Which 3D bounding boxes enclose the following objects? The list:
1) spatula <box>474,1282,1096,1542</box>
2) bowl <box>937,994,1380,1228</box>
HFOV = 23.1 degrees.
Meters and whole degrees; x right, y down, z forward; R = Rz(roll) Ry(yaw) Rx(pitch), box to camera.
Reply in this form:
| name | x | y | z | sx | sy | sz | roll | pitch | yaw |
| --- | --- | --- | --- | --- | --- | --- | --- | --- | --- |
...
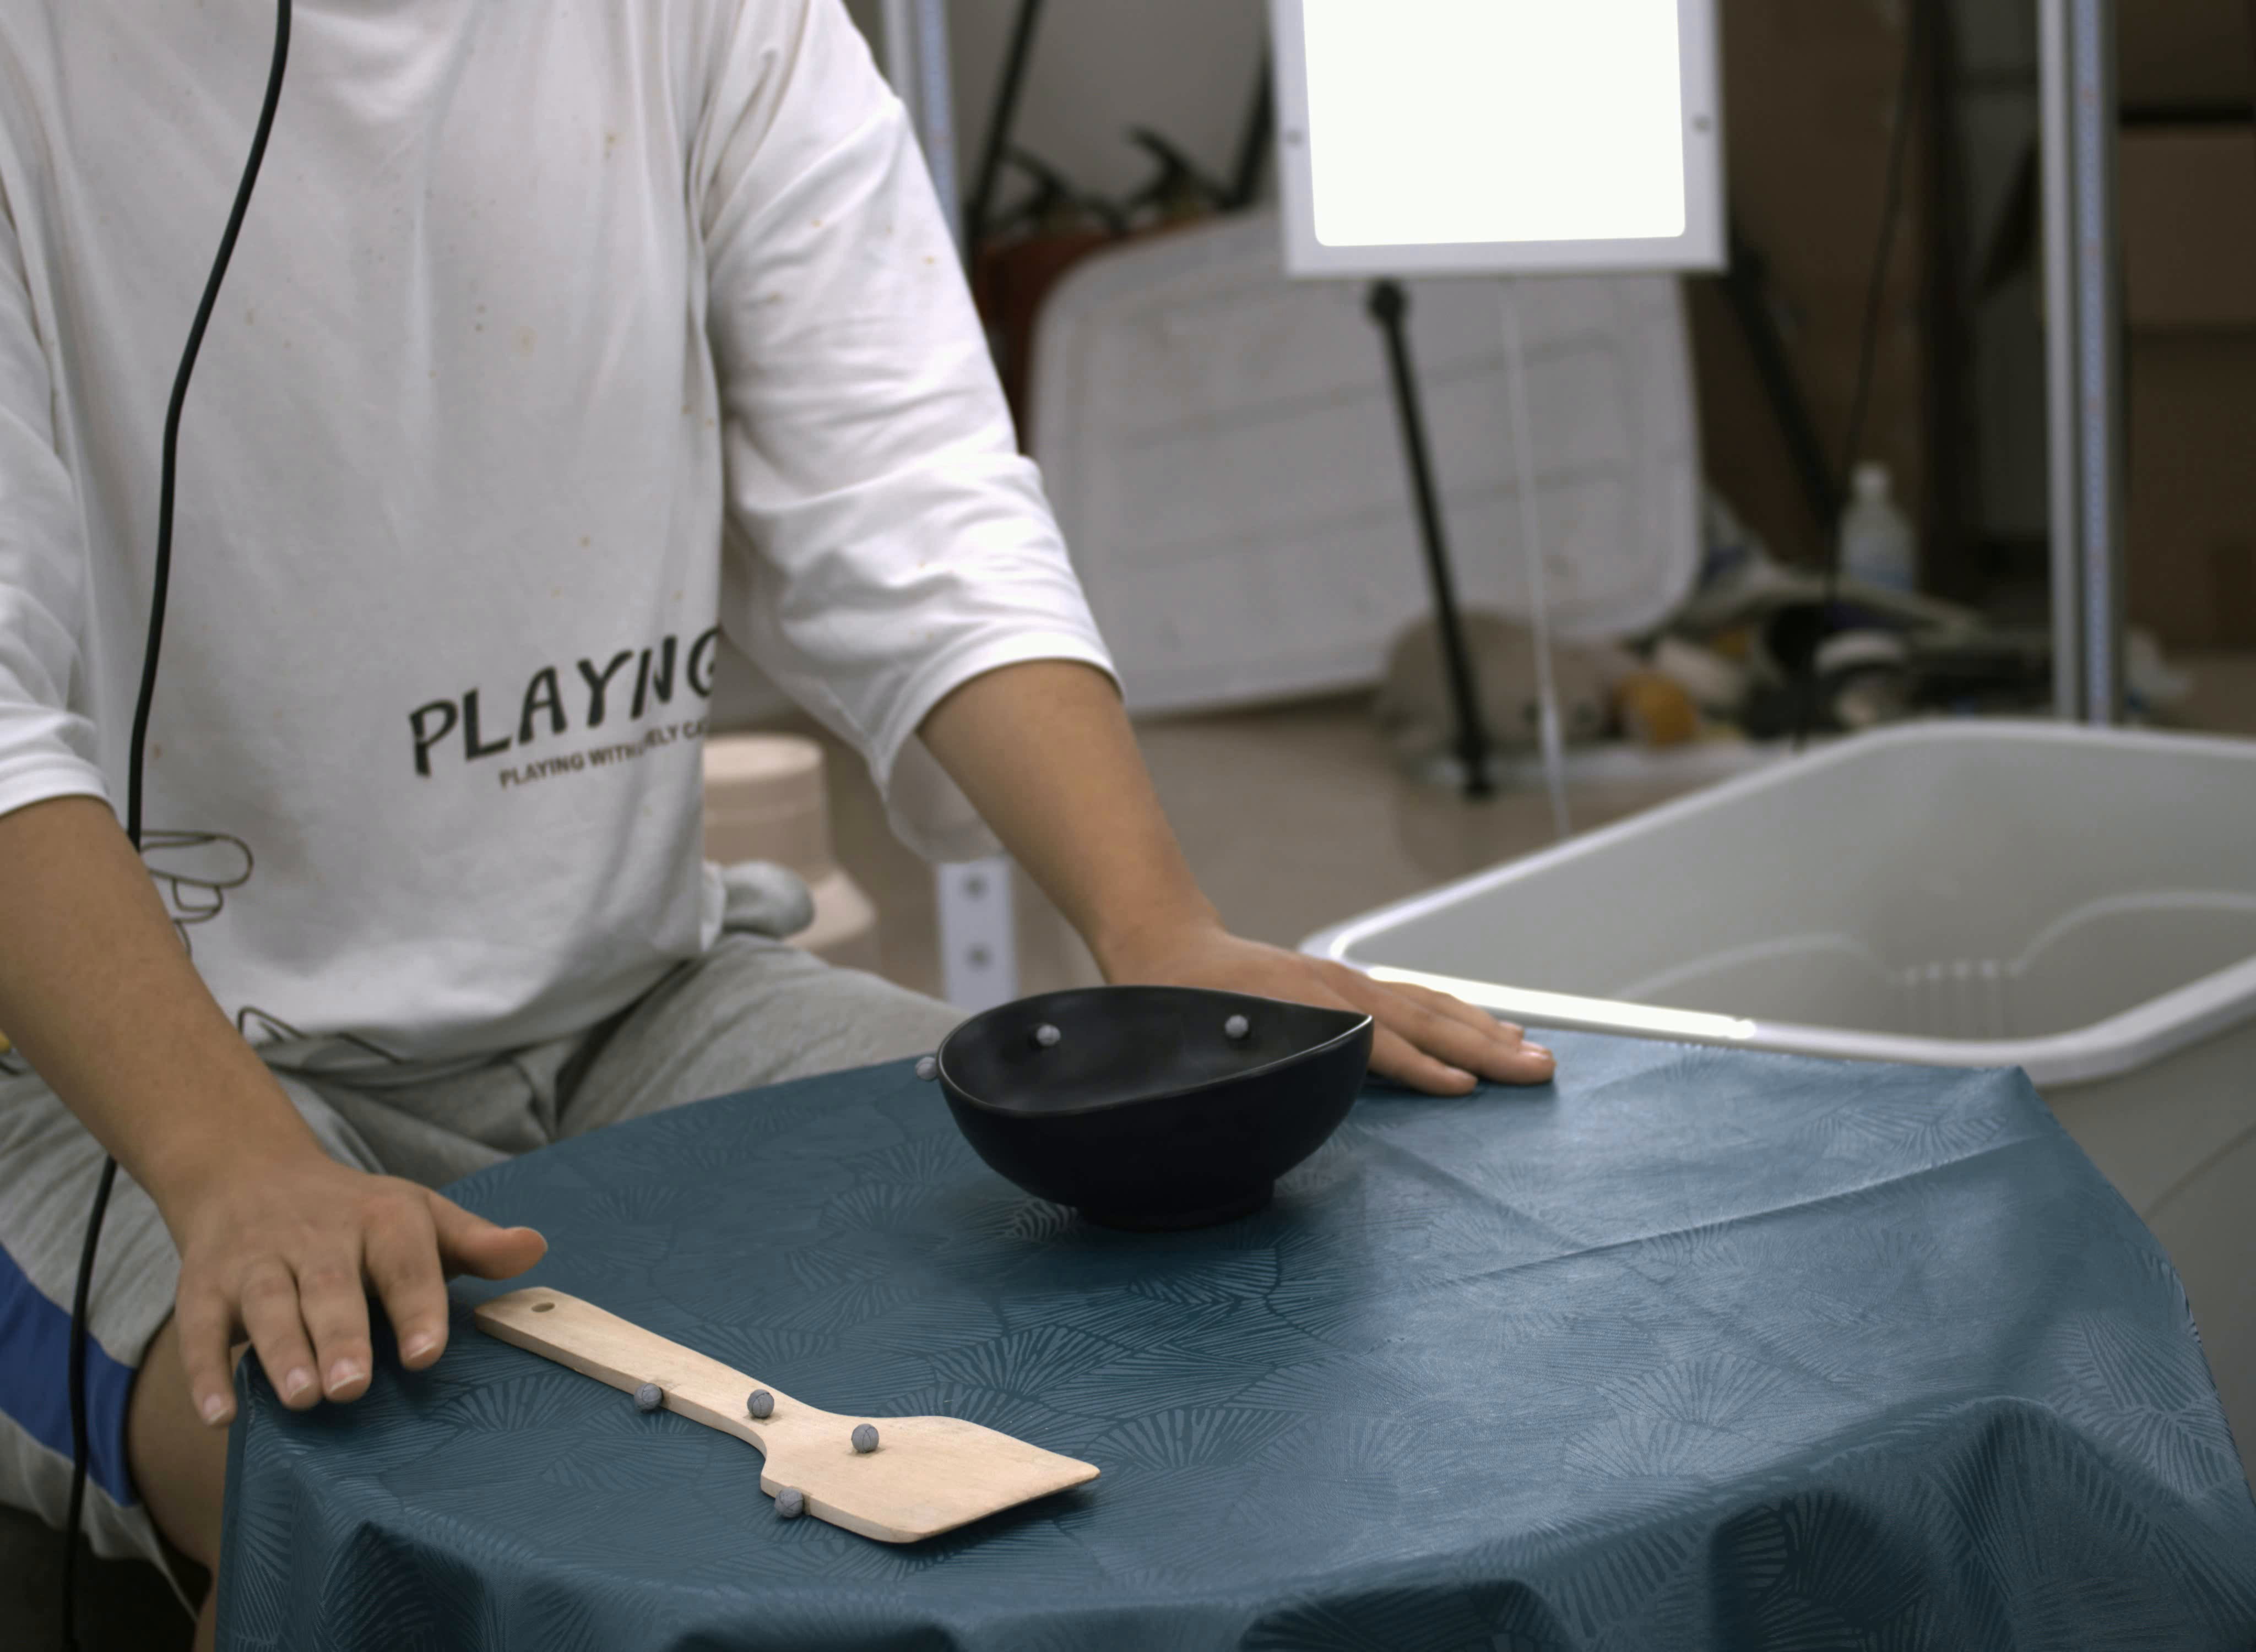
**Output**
| name | x | y | z | sx | sy | sz | roll | pitch | yaw |
| --- | --- | --- | --- | --- | --- | --- | --- | --- | --- |
| spatula | -0.122 | 0.178 | 1.710 | 0.070 | 0.011 | 0.299 | -16 | 17 | -33 |
| bowl | 0.013 | 0.098 | 1.878 | 0.140 | 0.067 | 0.166 | 6 | 15 | 40 |
